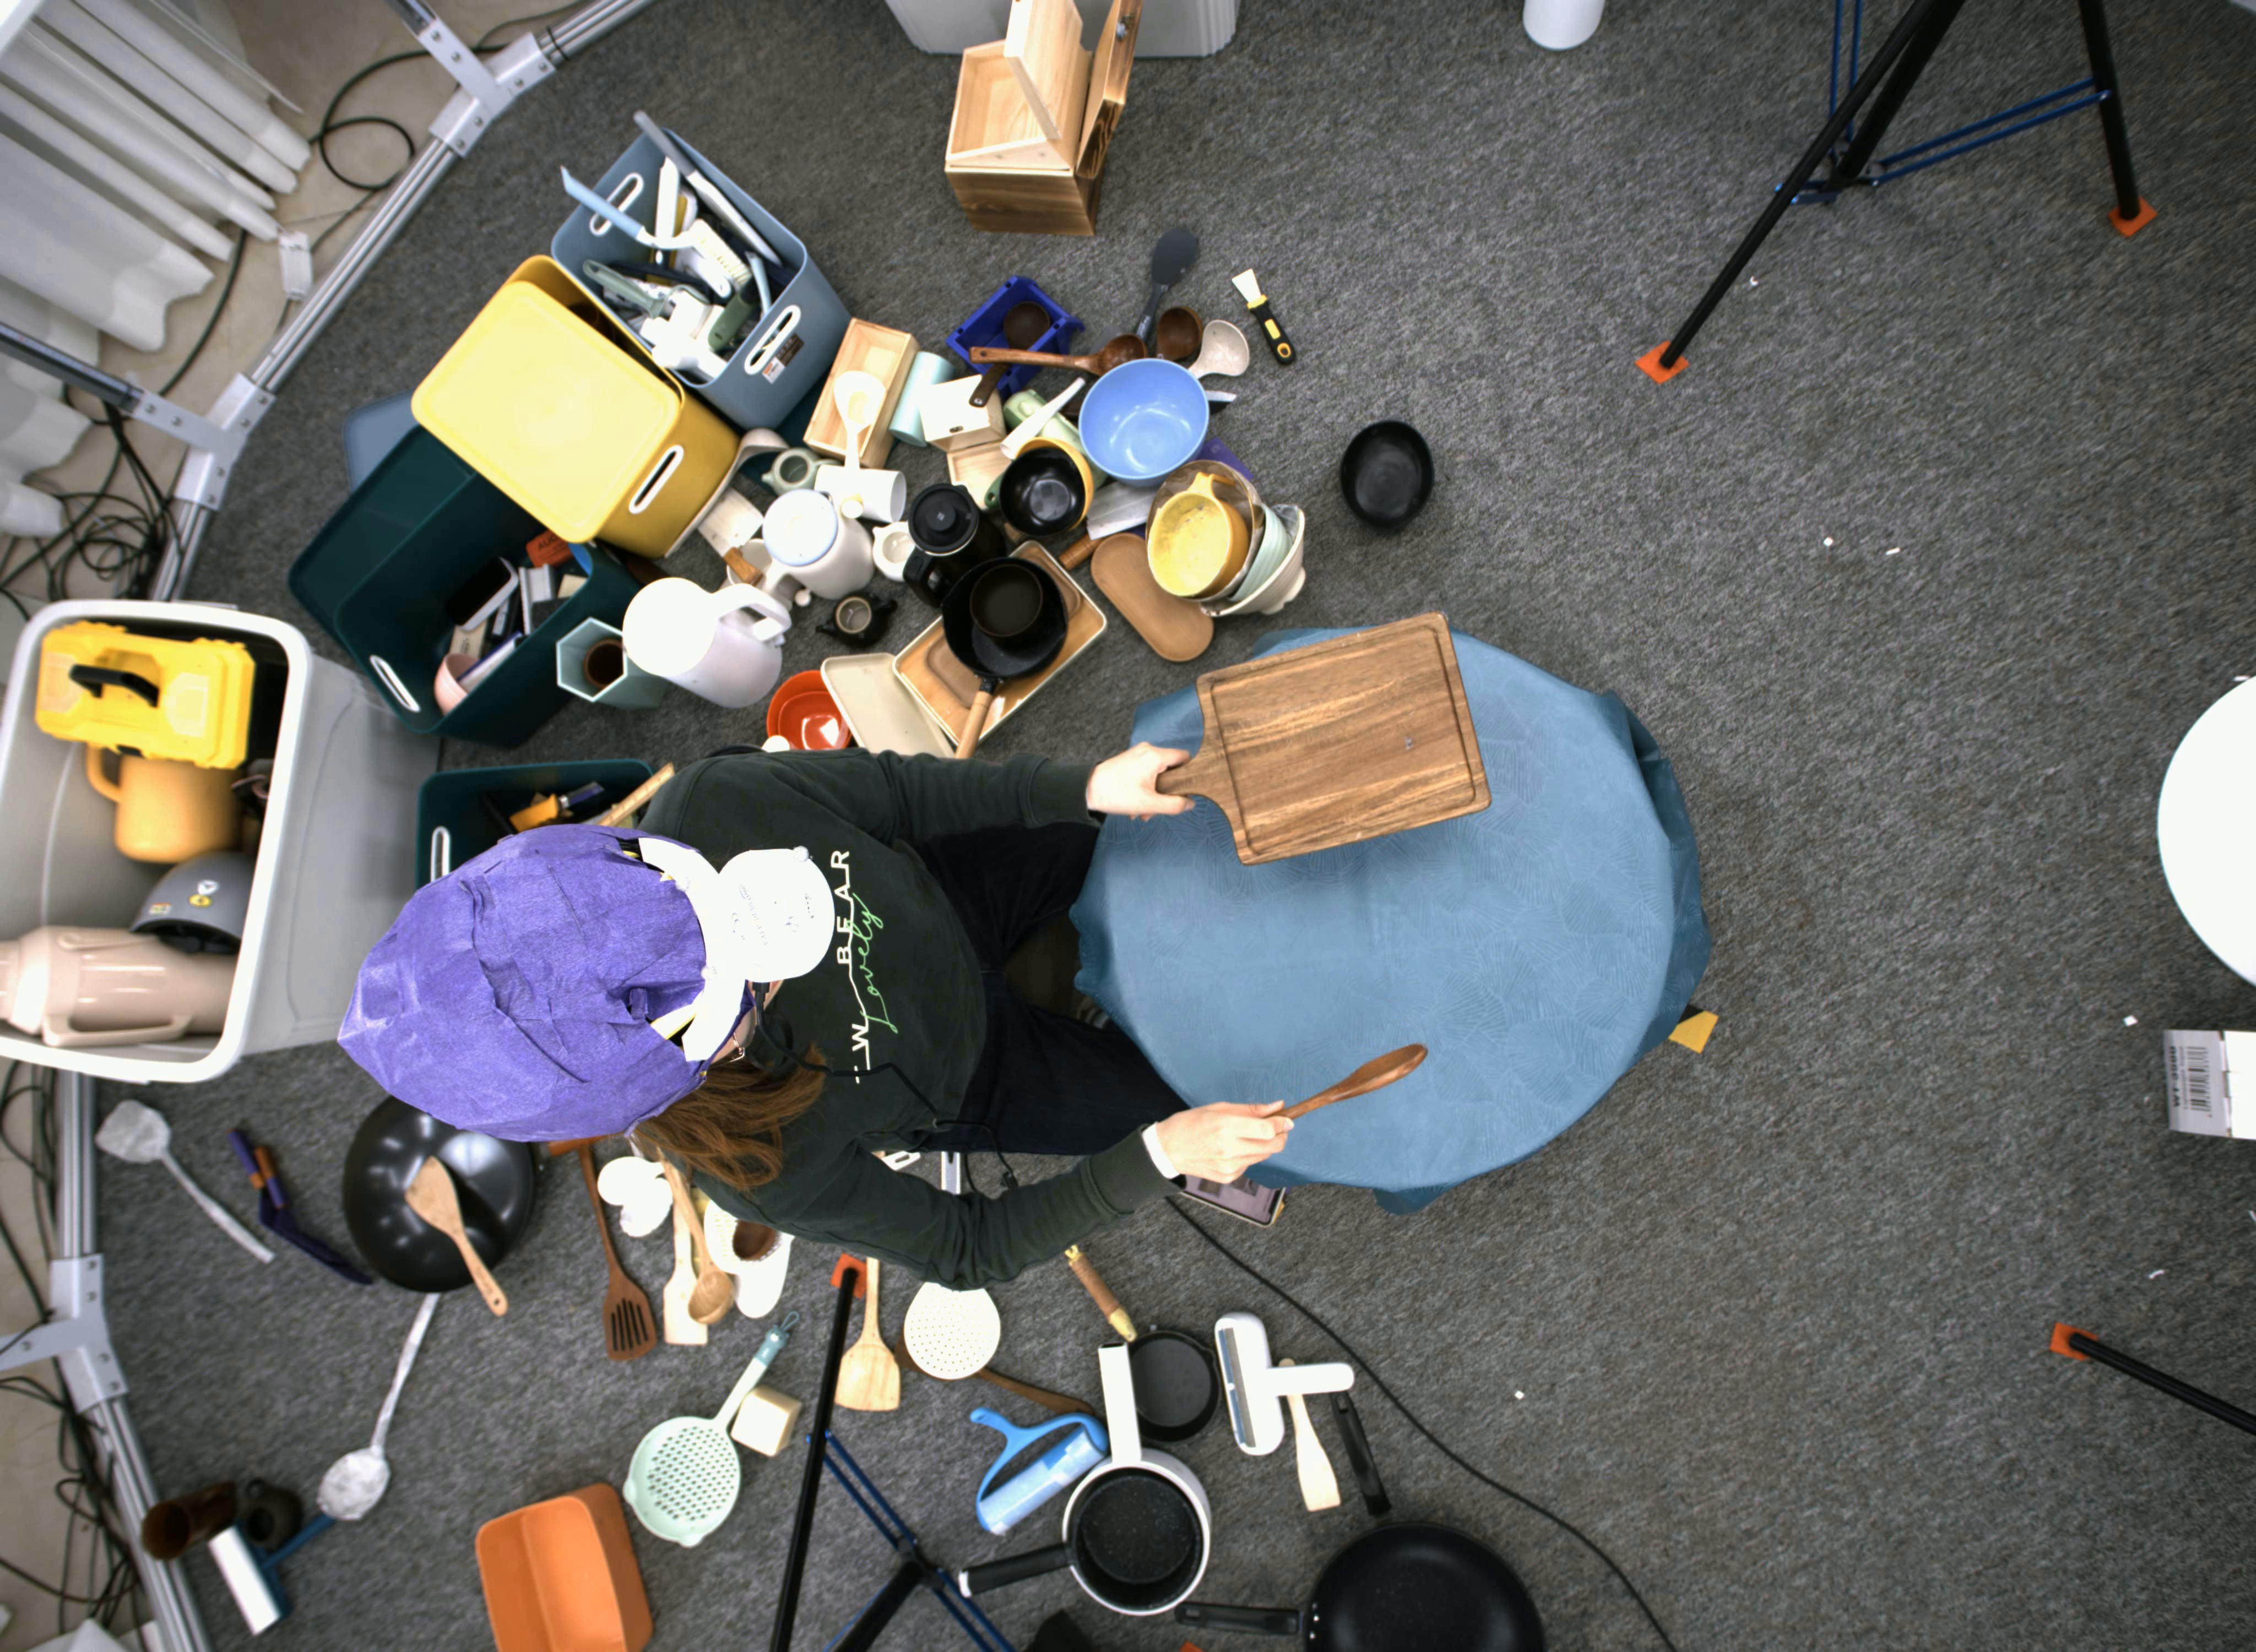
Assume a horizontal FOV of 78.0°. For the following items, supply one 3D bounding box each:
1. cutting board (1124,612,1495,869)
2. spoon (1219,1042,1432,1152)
[{"bbox_3d":[0.163,-0.070,1.354,0.355,0.023,0.201,-14,94,15],"label":"cutting board"},{"bbox_3d":[0.182,0.251,1.275,0.217,0.074,0.017,-26,96,10],"label":"spoon"}]
